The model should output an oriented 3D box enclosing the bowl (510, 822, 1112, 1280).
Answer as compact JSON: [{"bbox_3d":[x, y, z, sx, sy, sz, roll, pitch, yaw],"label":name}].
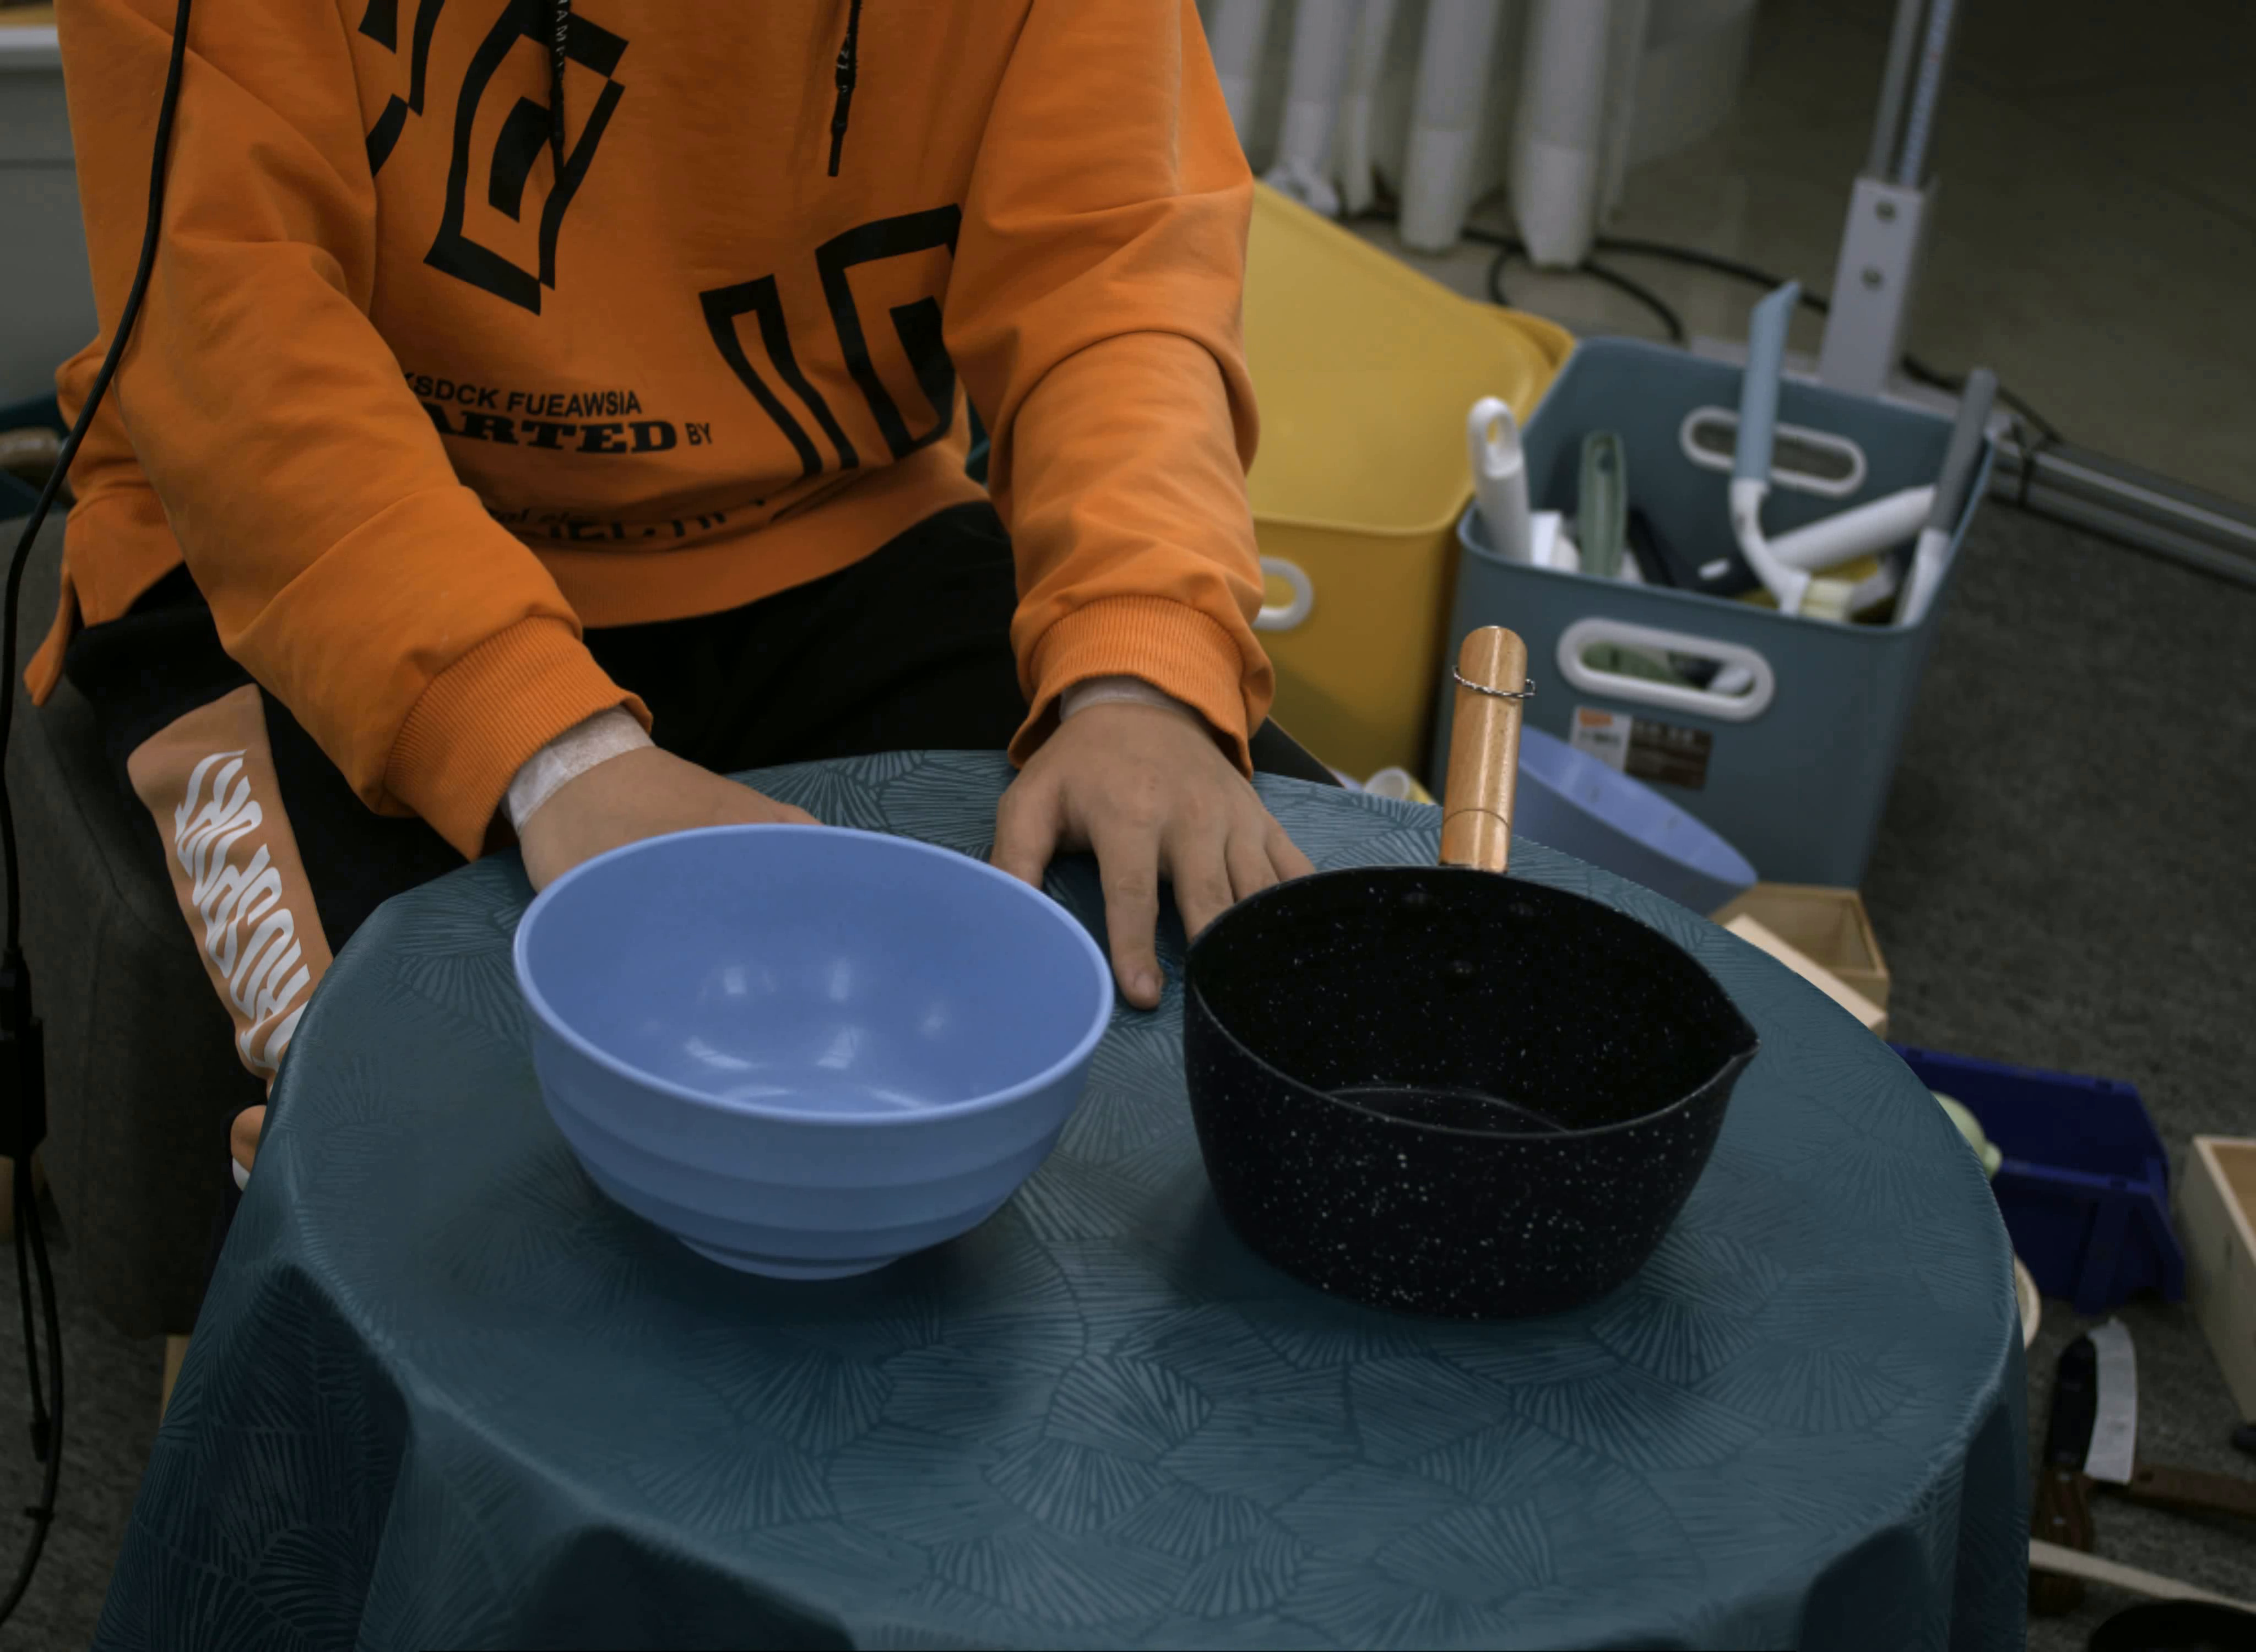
[{"bbox_3d":[-0.107,0.085,1.749,0.196,0.095,0.198,5,28,-3],"label":"bowl"}]

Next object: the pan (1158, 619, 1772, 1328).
[{"bbox_3d":[0.115,0.047,1.860,0.207,0.108,0.344,6,28,2],"label":"pan"}]
